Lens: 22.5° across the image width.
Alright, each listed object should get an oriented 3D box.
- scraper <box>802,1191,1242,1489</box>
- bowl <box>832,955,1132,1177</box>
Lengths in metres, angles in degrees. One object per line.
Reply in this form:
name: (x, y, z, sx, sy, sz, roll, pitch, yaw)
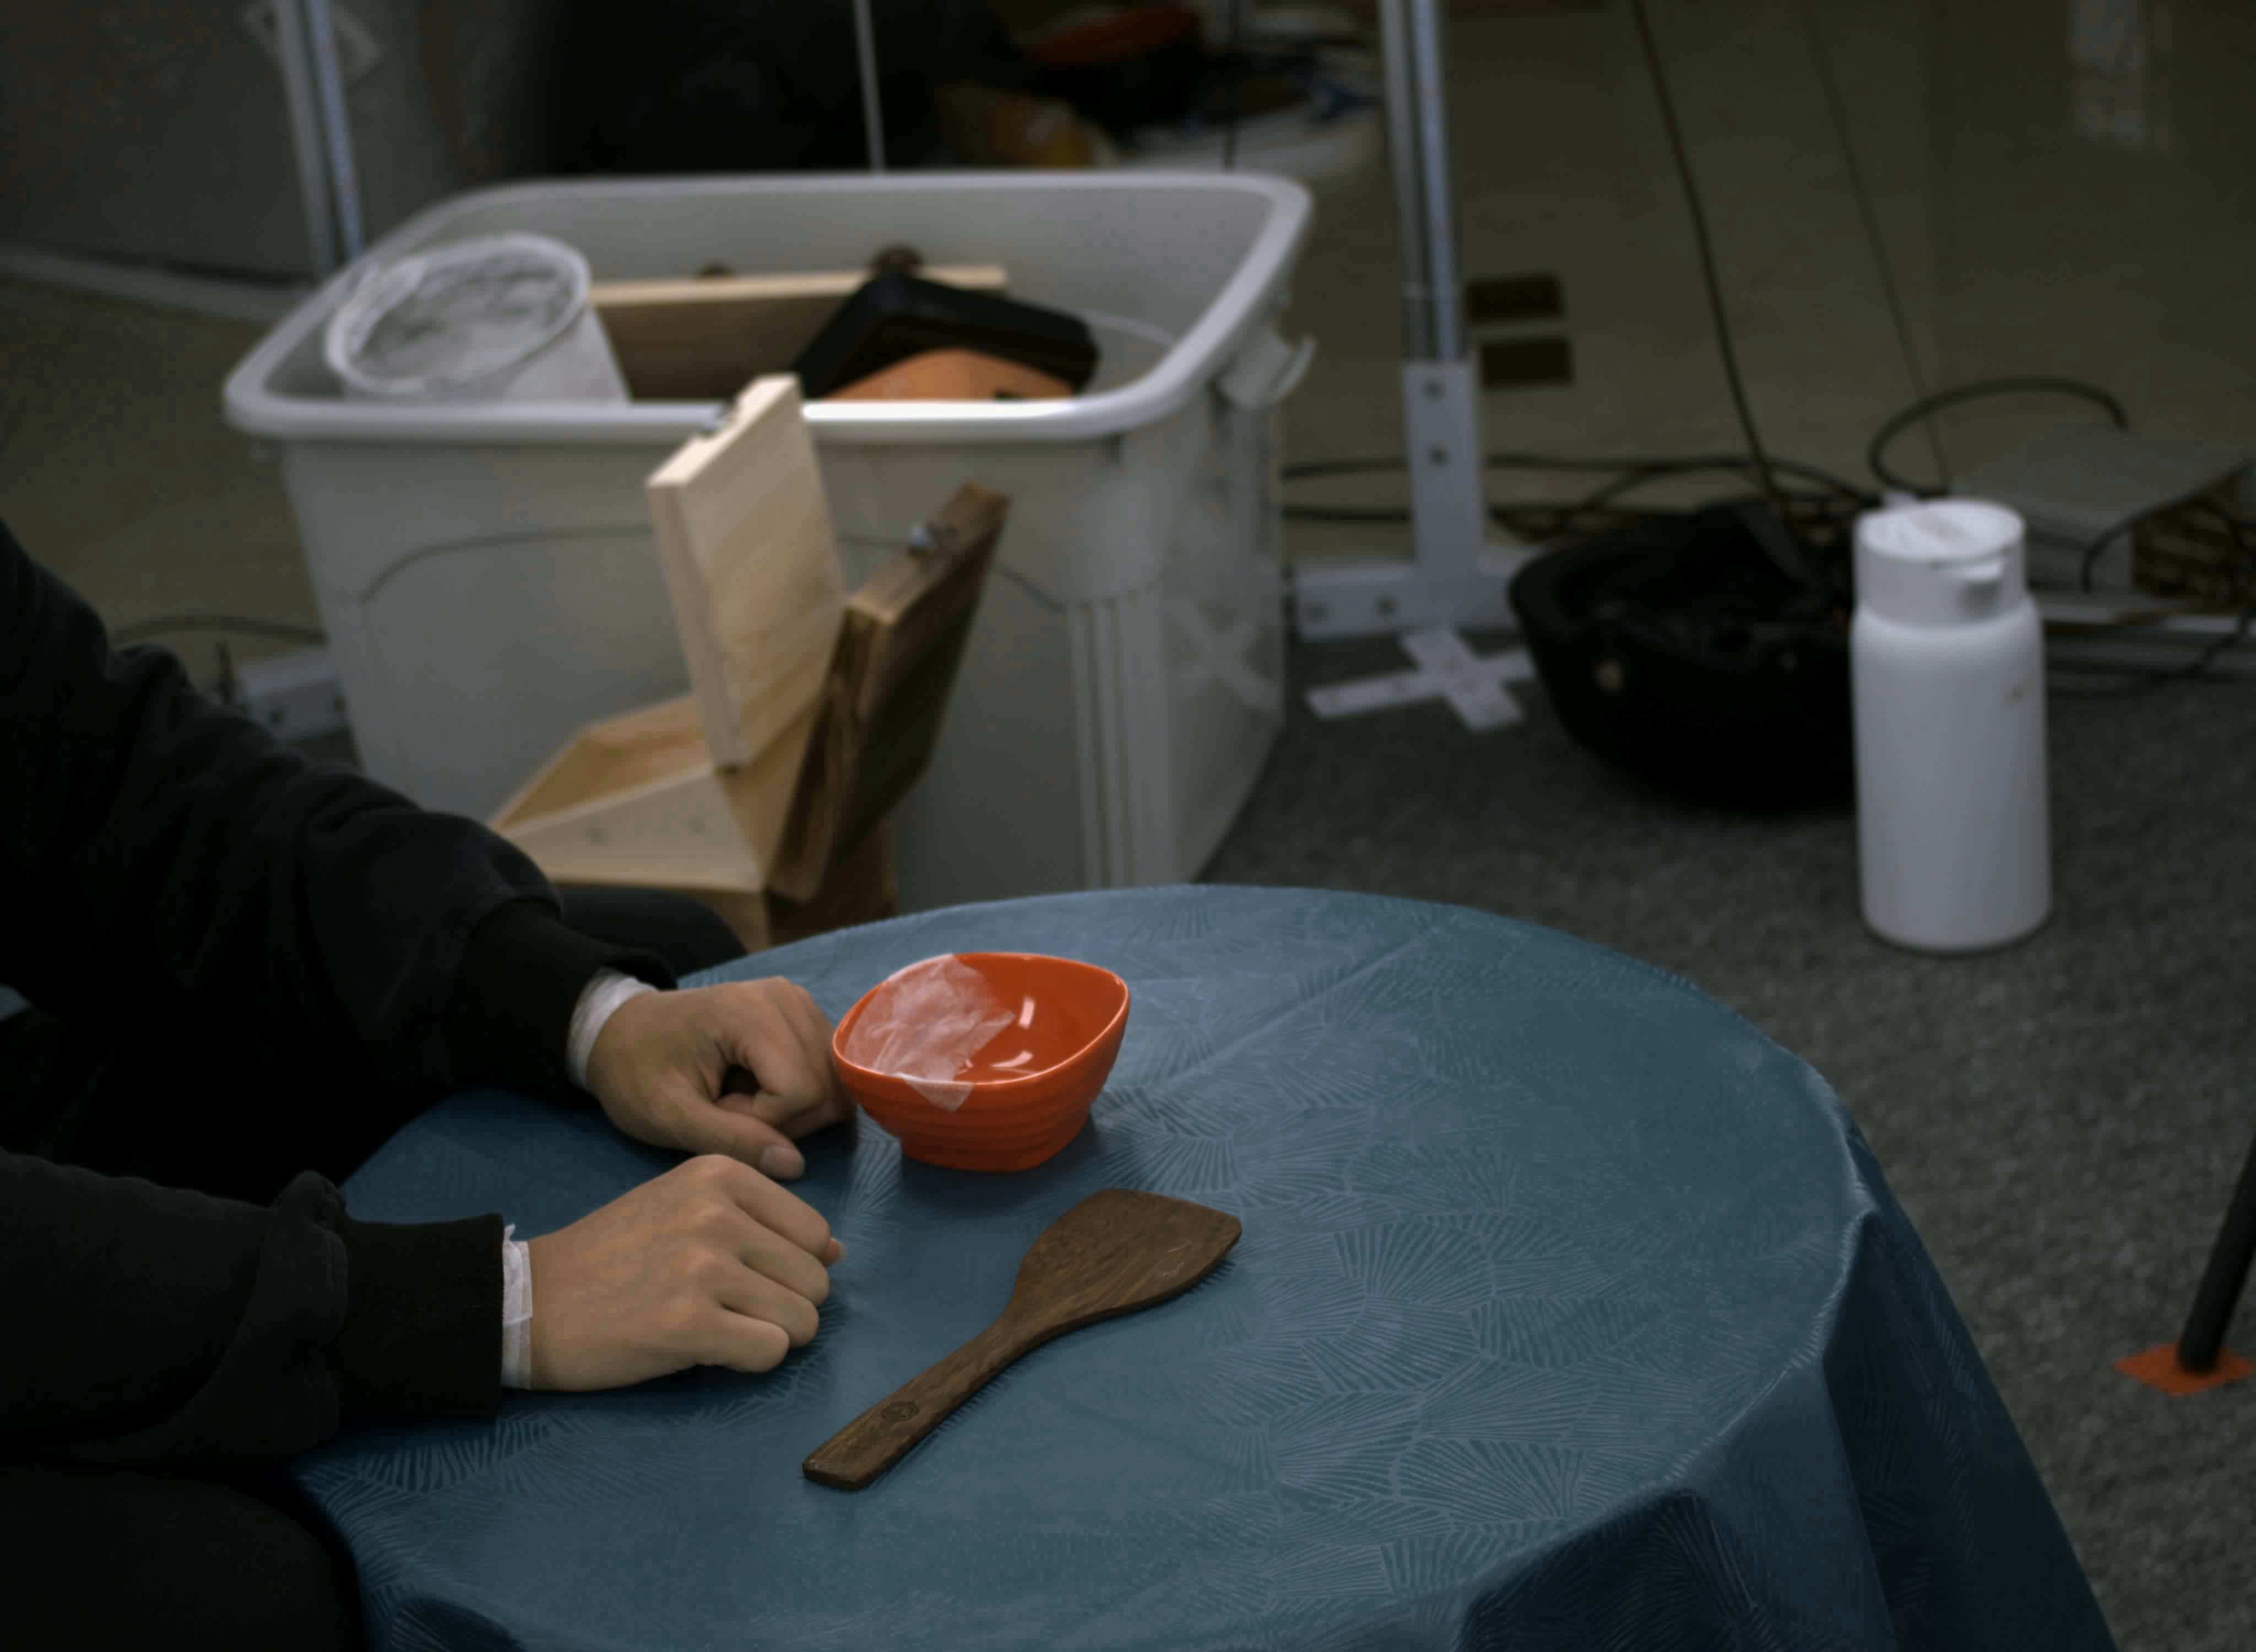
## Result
scraper: (-0.044, 0.187, 2.052, 0.075, 0.011, 0.209, 12, 31, 36)
bowl: (-0.054, 0.097, 2.197, 0.119, 0.052, 0.117, -4, 26, 2)
